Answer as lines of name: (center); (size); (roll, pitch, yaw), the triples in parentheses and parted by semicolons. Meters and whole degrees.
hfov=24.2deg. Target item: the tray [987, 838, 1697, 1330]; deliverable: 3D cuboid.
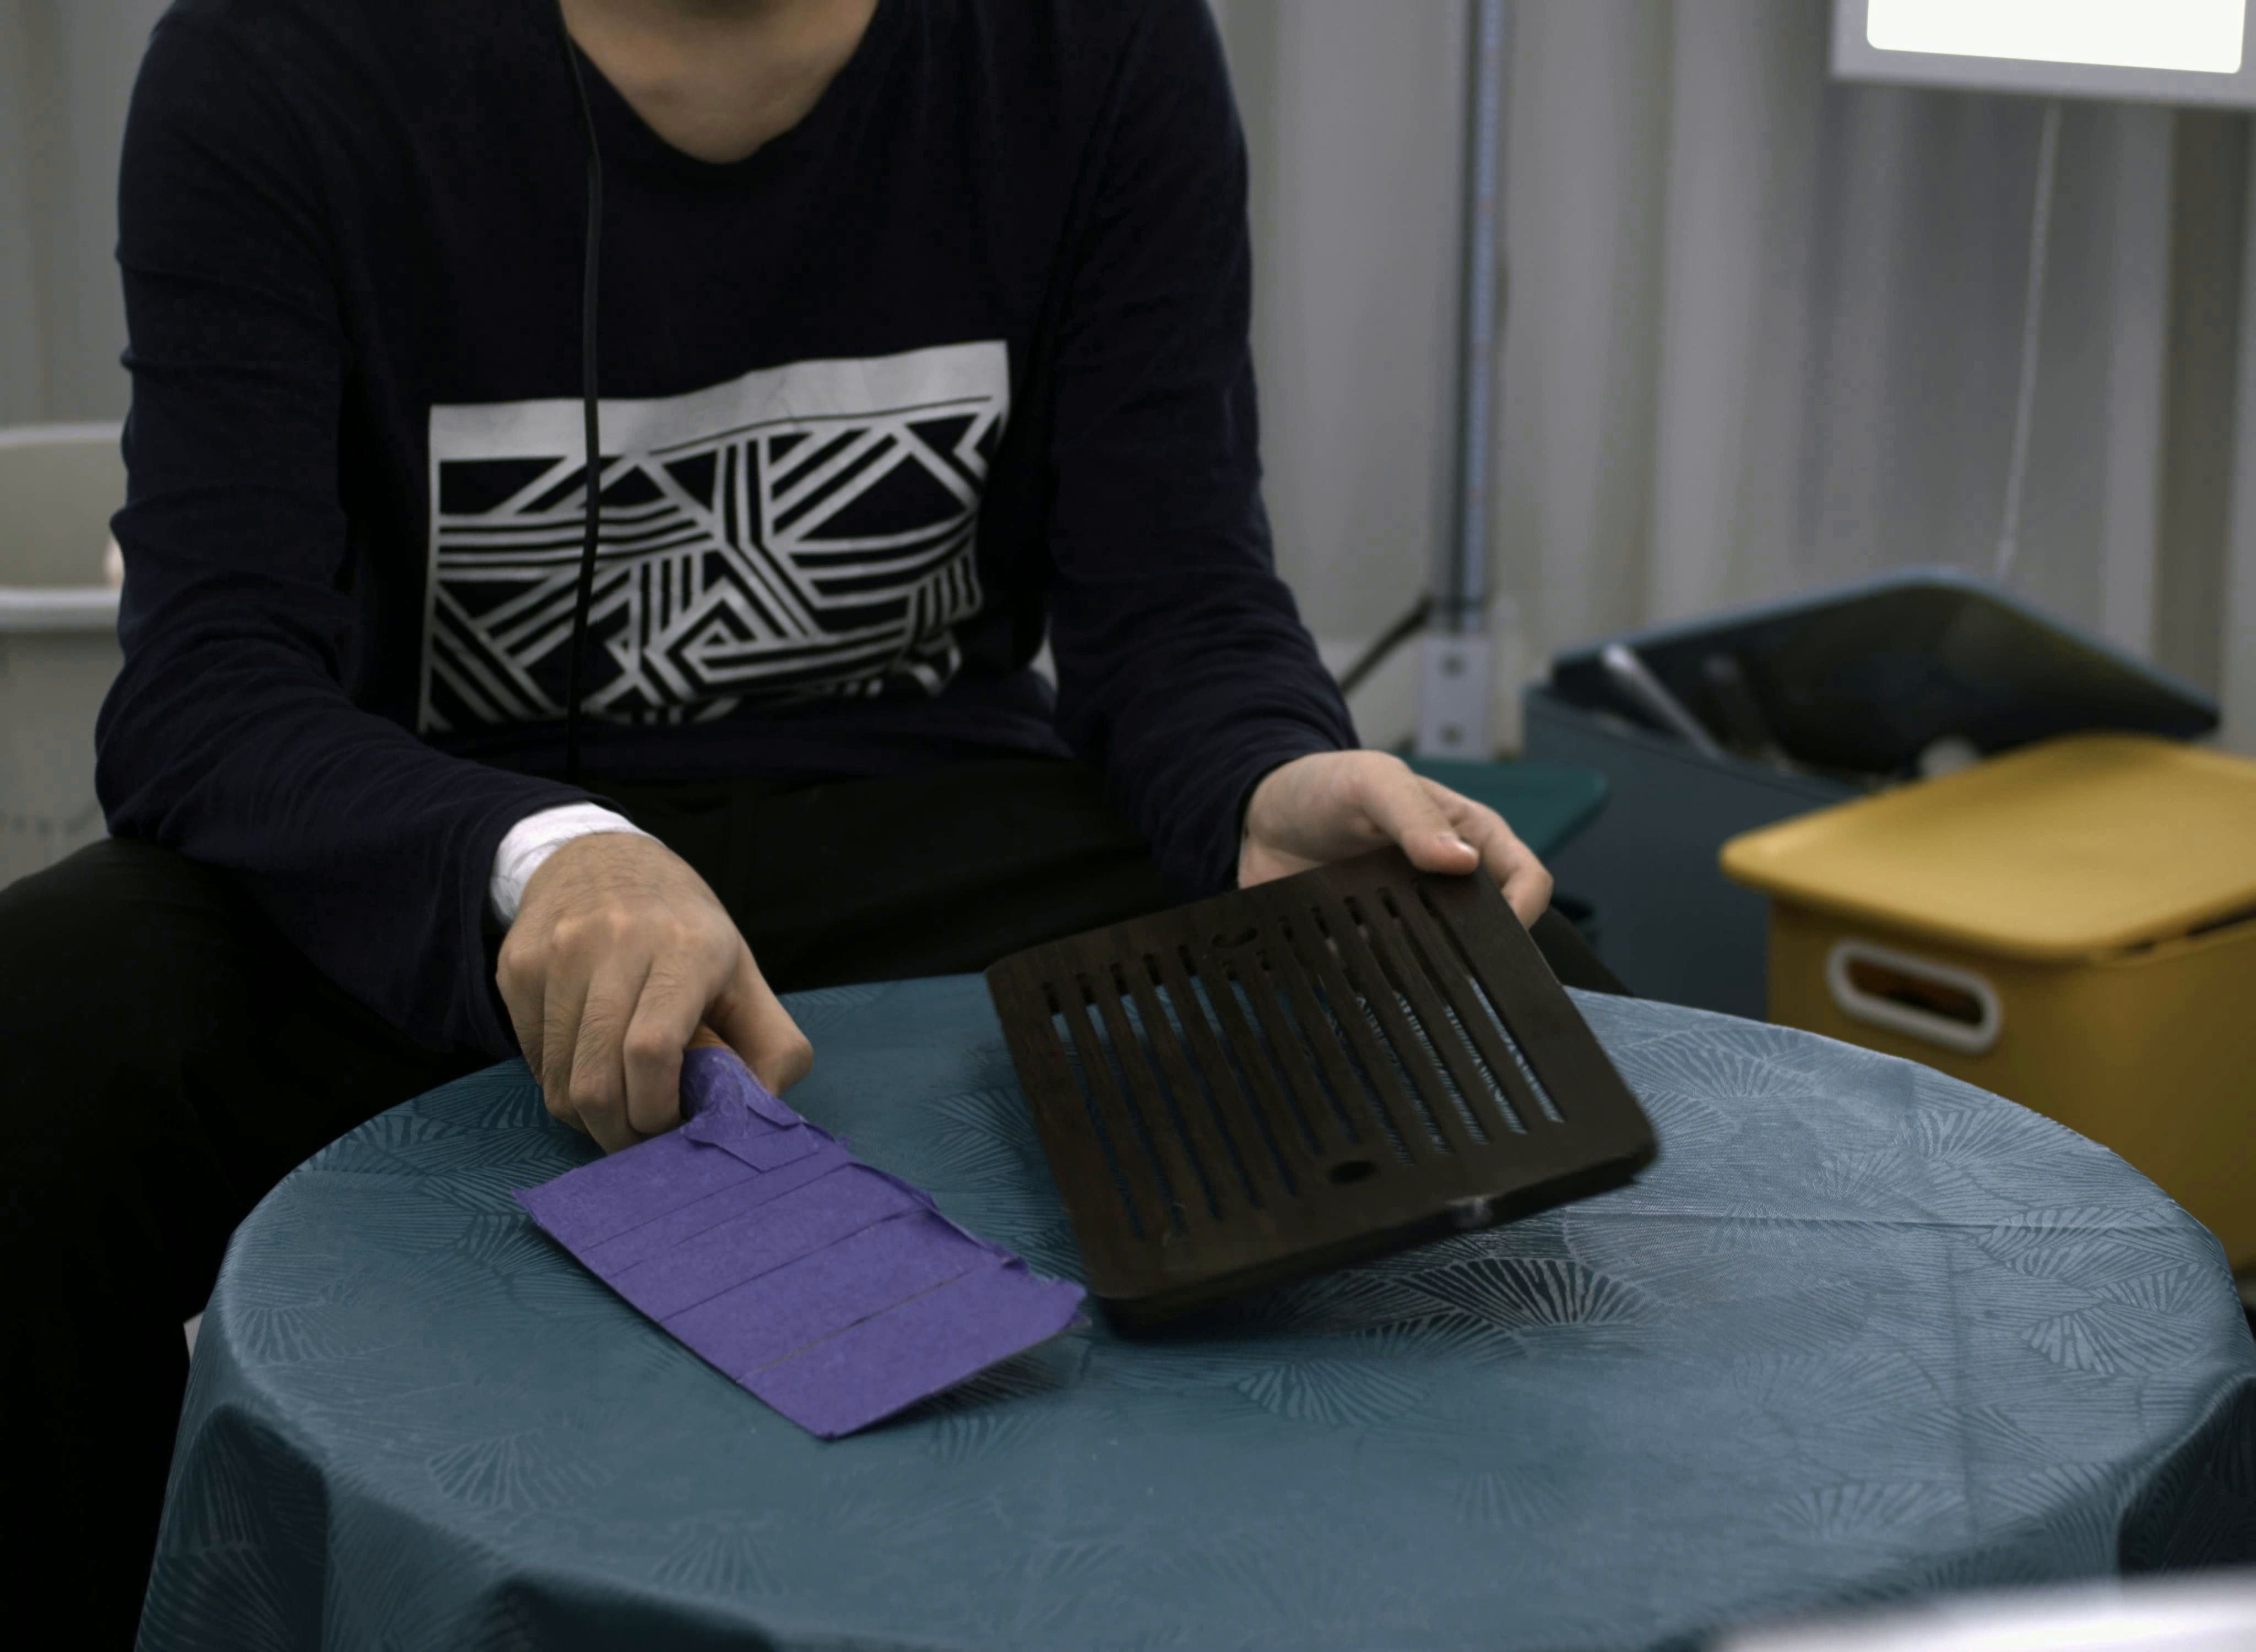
tray: (0.059, 0.076, 1.635); (0.170, 0.019, 0.303); (-16, 19, -5)

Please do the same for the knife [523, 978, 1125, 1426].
knife: (-0.122, 0.107, 1.564); (0.104, 0.032, 0.311); (-19, 23, -26)
